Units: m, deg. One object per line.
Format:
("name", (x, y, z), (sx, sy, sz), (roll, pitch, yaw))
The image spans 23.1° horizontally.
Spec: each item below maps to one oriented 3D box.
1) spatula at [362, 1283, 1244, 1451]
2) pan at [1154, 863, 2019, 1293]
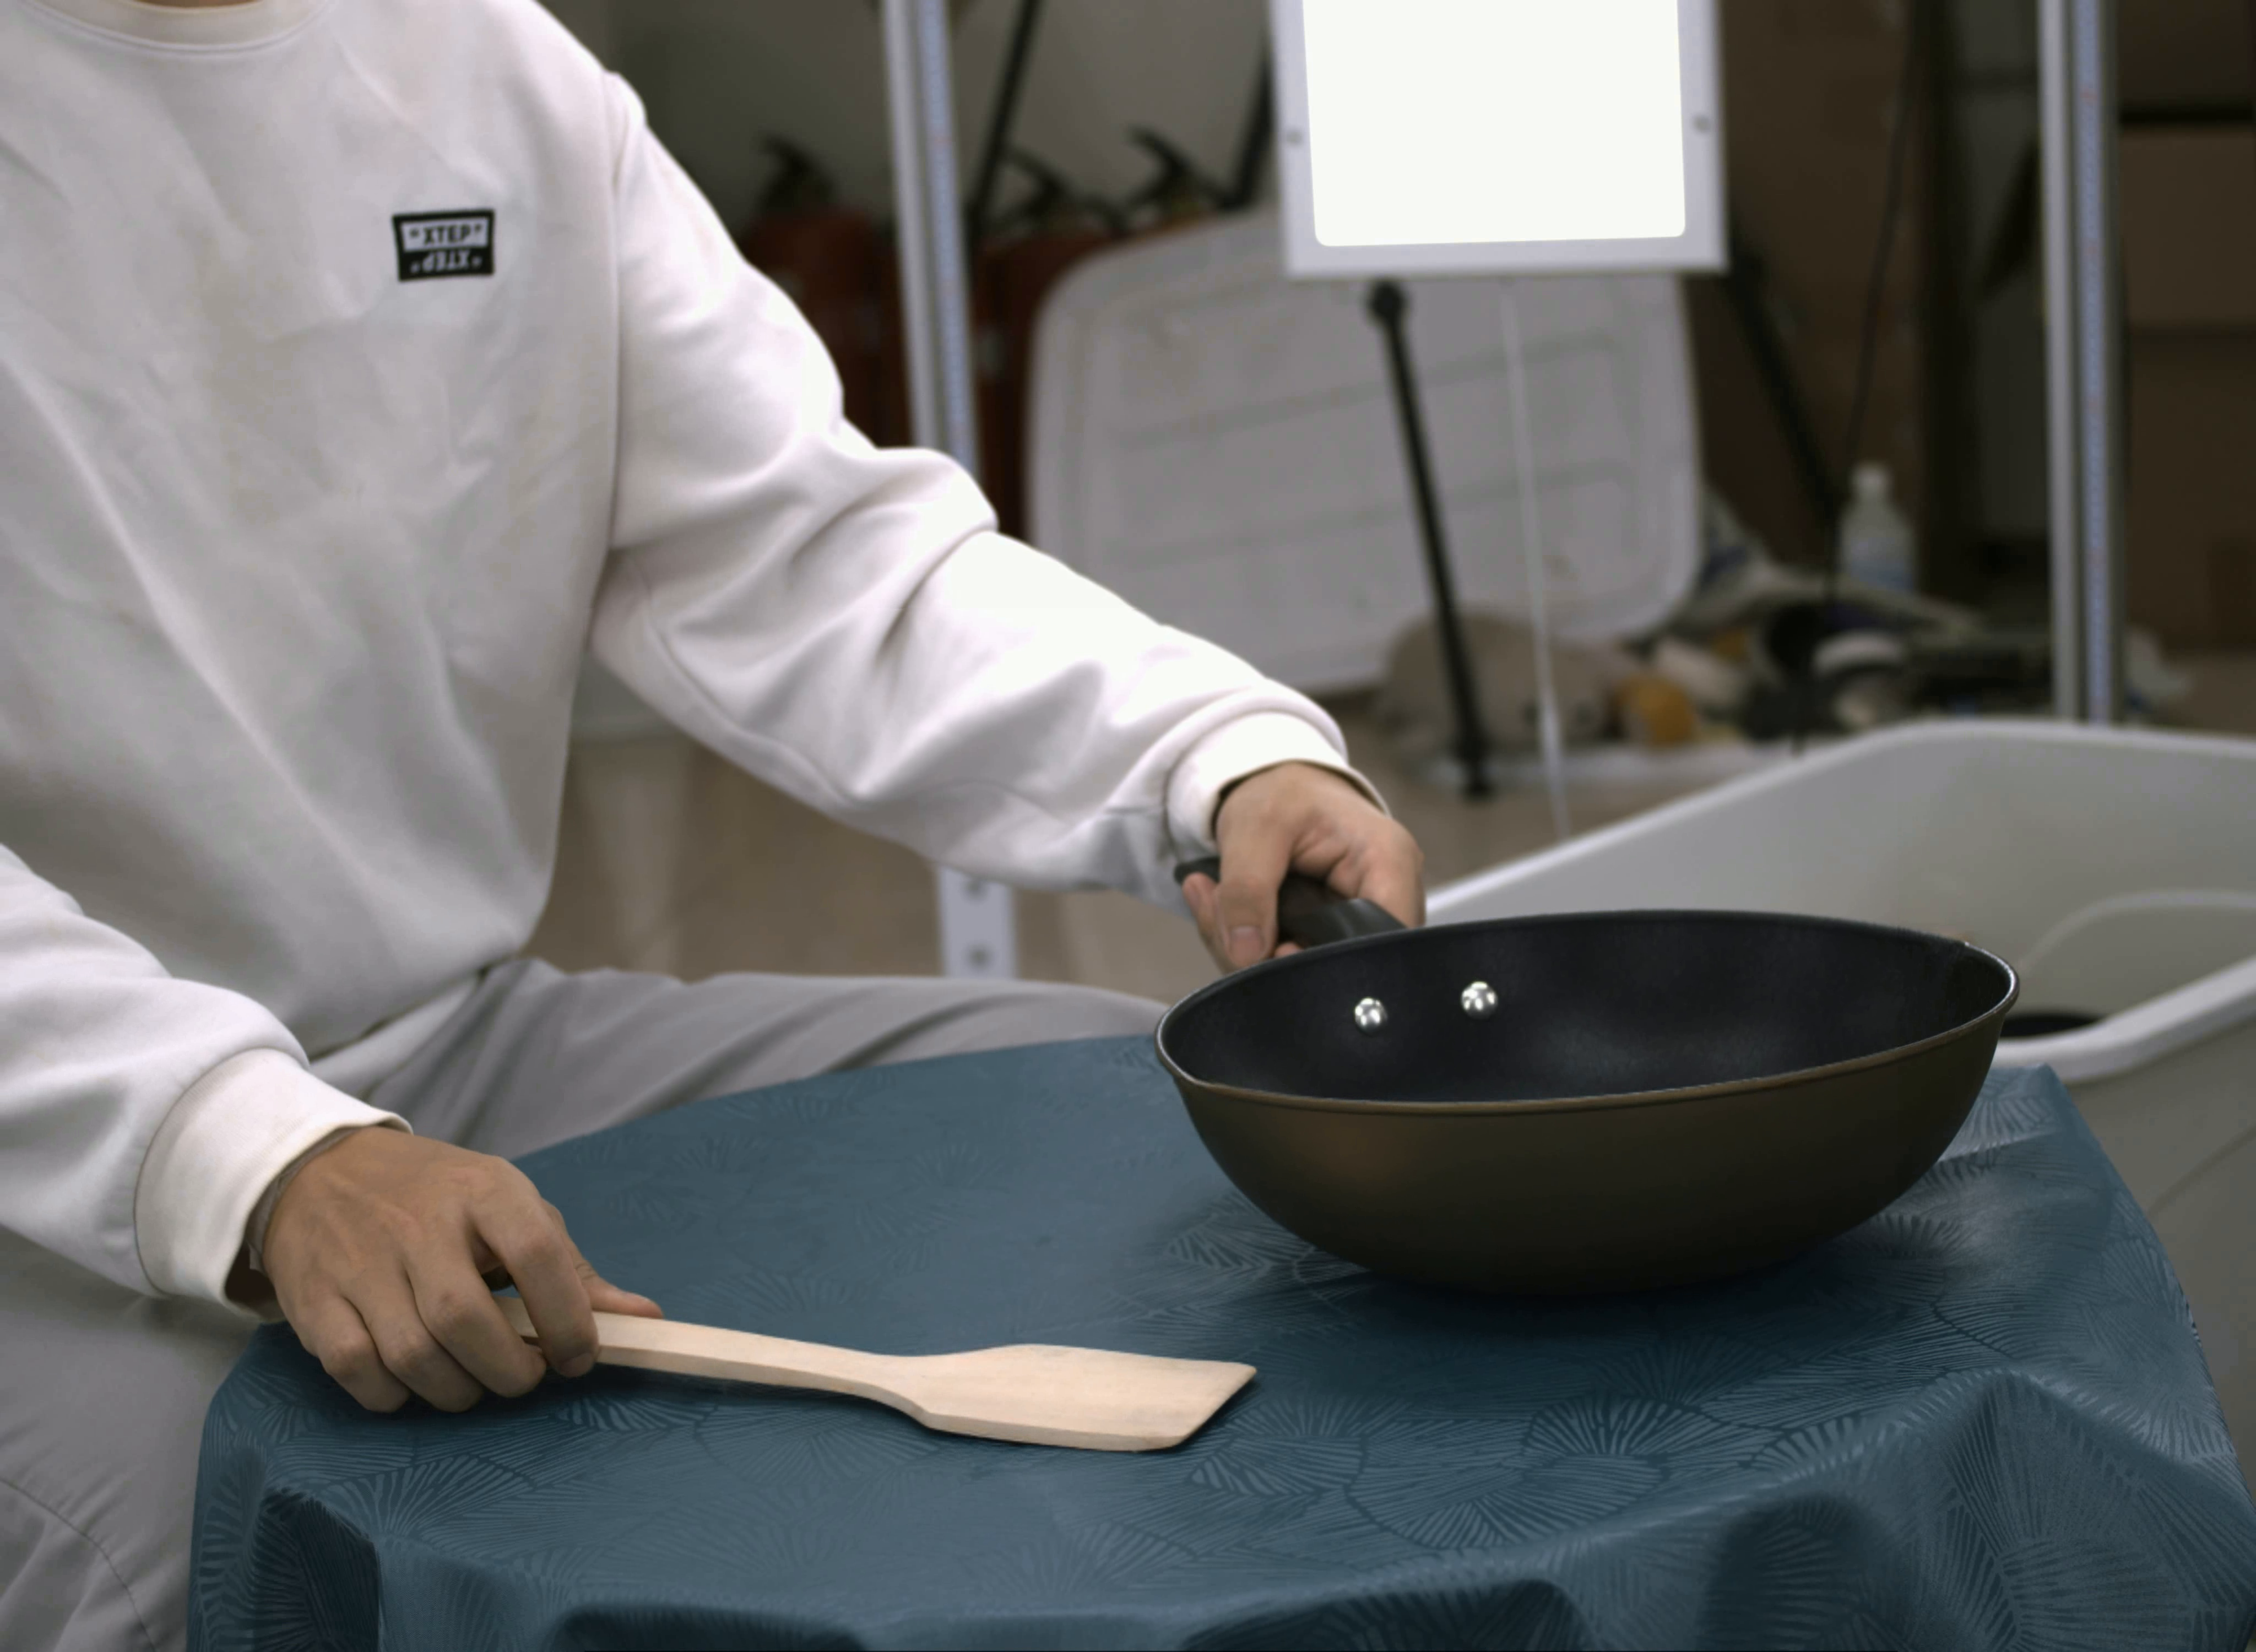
("spatula", (-0.110, 0.167, 1.729), (0.297, 0.011, 0.071), (5, 16, 23))
("pan", (0.118, 0.081, 1.873), (0.283, 0.087, 0.470), (-8, 10, -20))
